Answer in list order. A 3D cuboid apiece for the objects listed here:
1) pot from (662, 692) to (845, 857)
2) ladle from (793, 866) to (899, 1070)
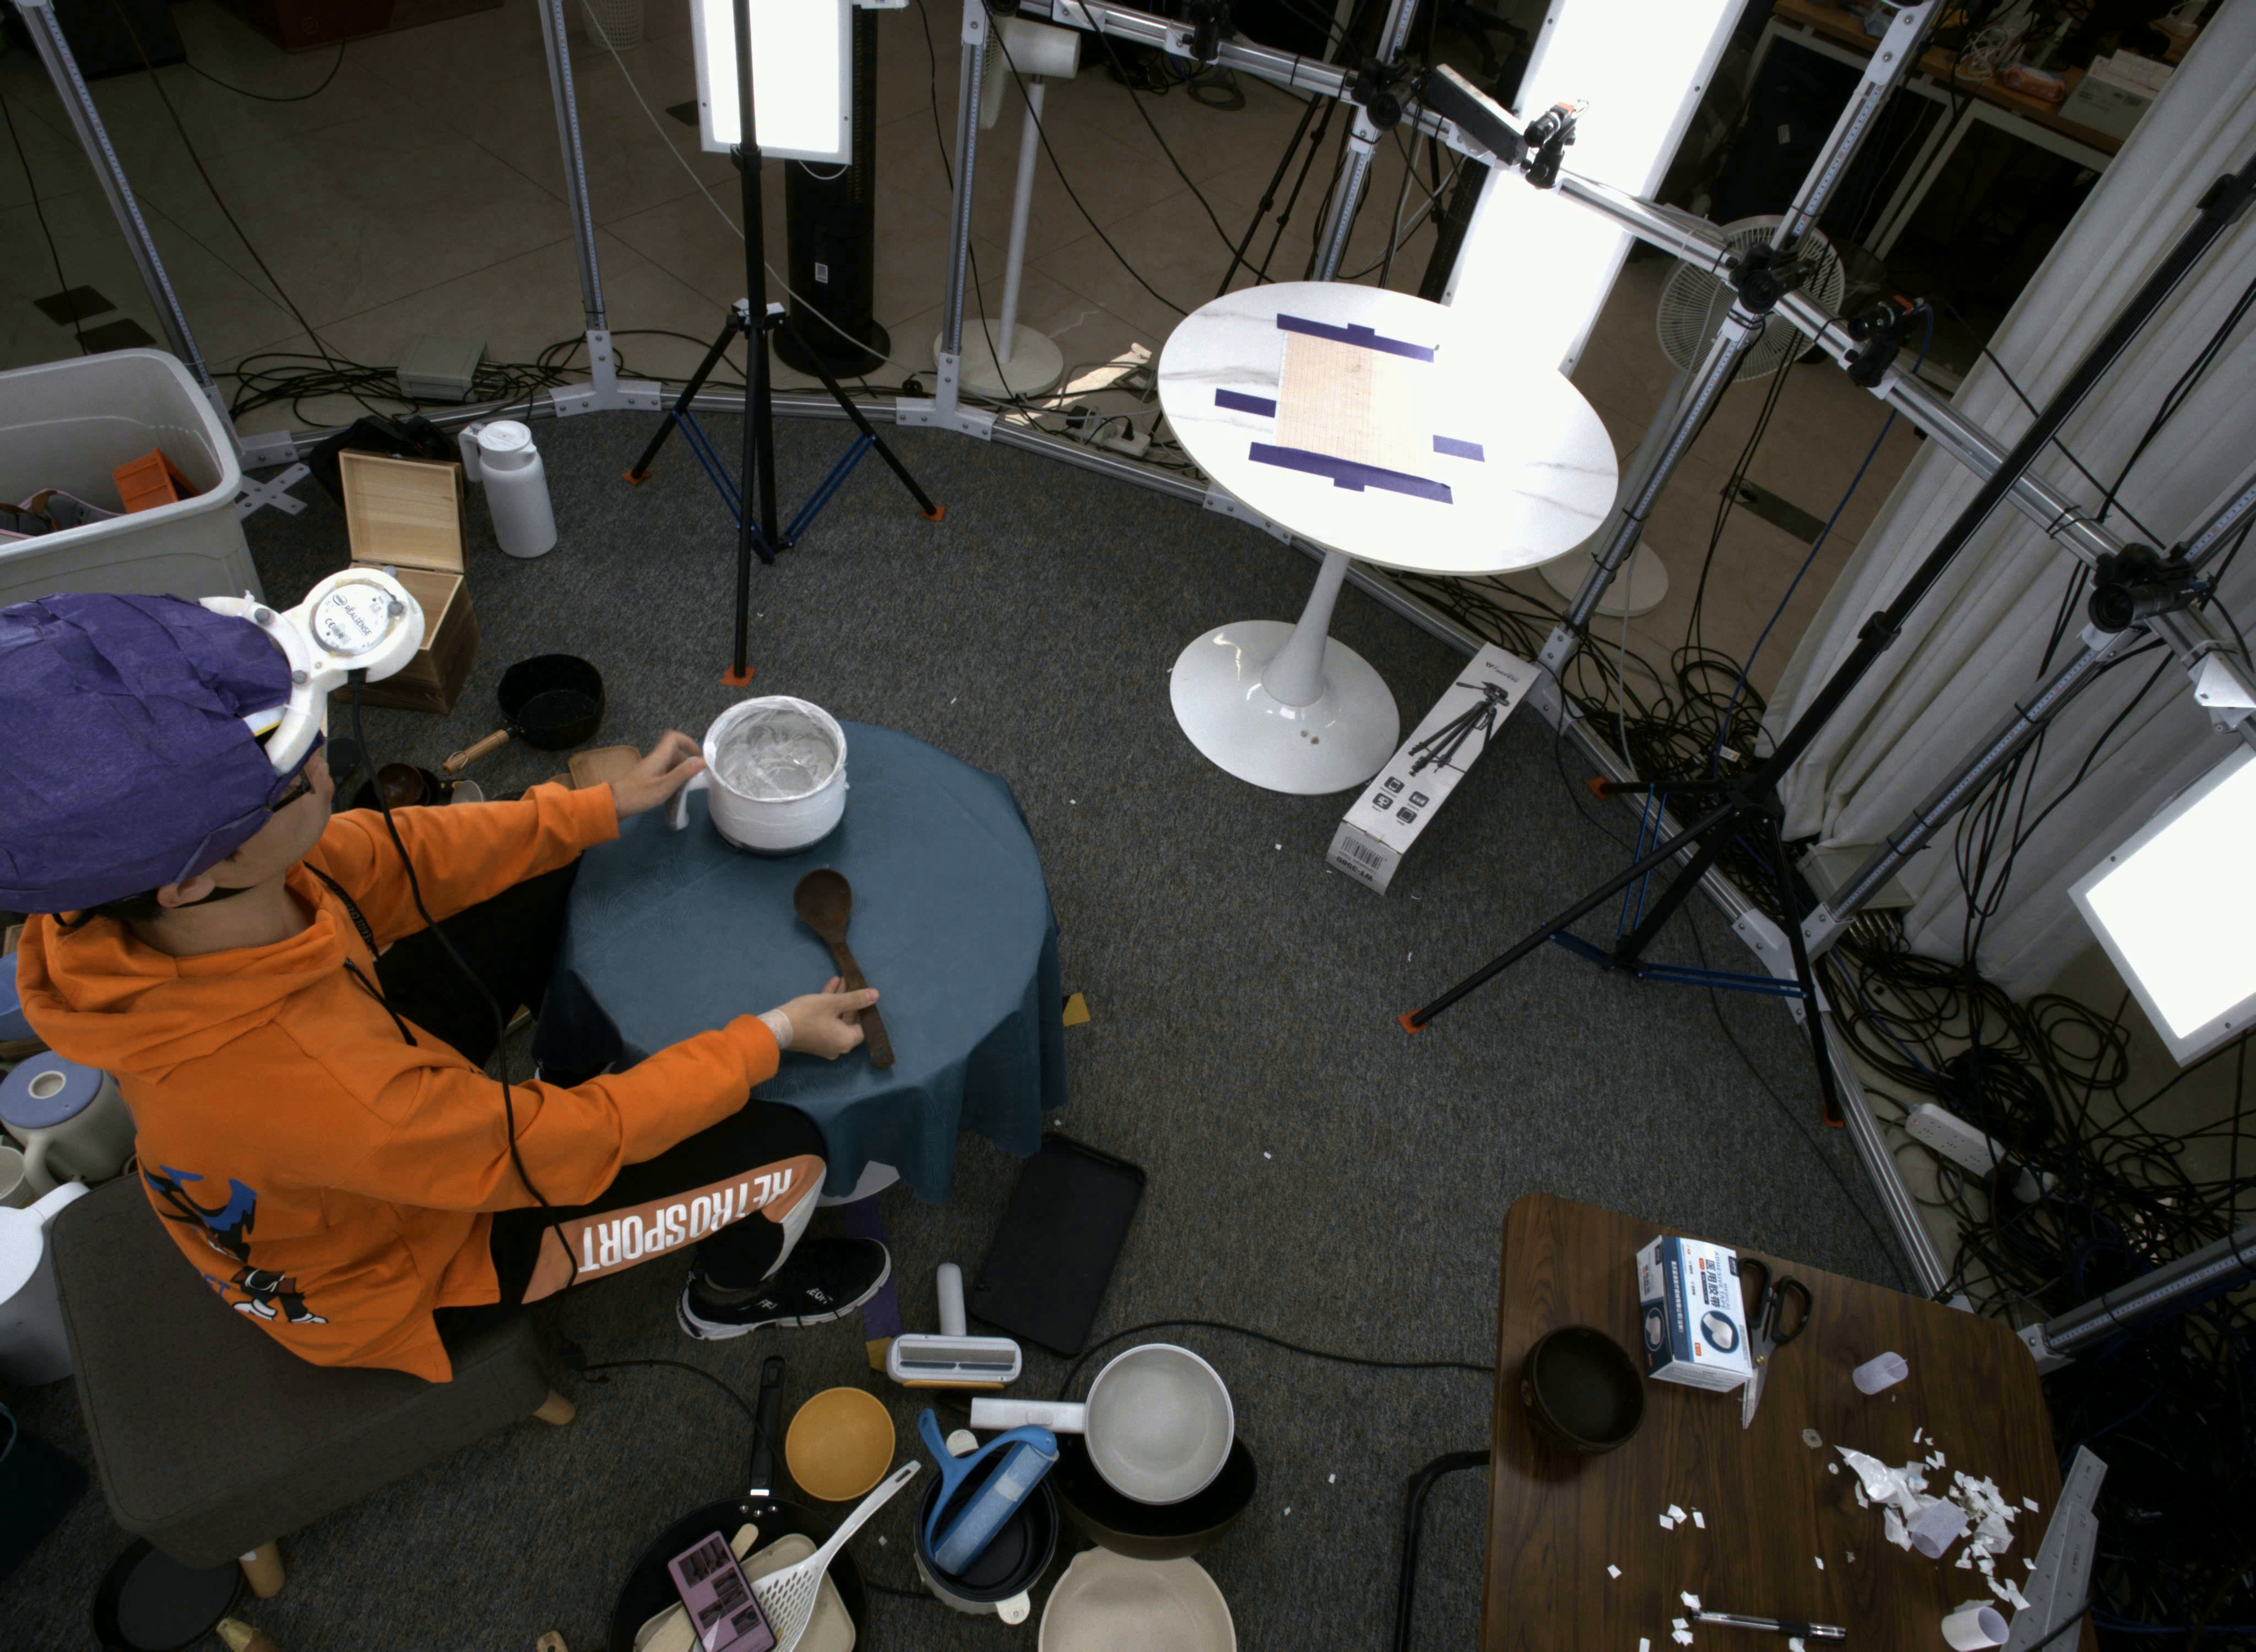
[{"bbox_3d":[-0.479,-0.056,1.652,0.235,0.139,0.174,-14,57,-24],"label":"pot"},{"bbox_3d":[-0.334,0.162,1.562,0.076,0.073,0.266,-16,53,-23],"label":"ladle"}]
